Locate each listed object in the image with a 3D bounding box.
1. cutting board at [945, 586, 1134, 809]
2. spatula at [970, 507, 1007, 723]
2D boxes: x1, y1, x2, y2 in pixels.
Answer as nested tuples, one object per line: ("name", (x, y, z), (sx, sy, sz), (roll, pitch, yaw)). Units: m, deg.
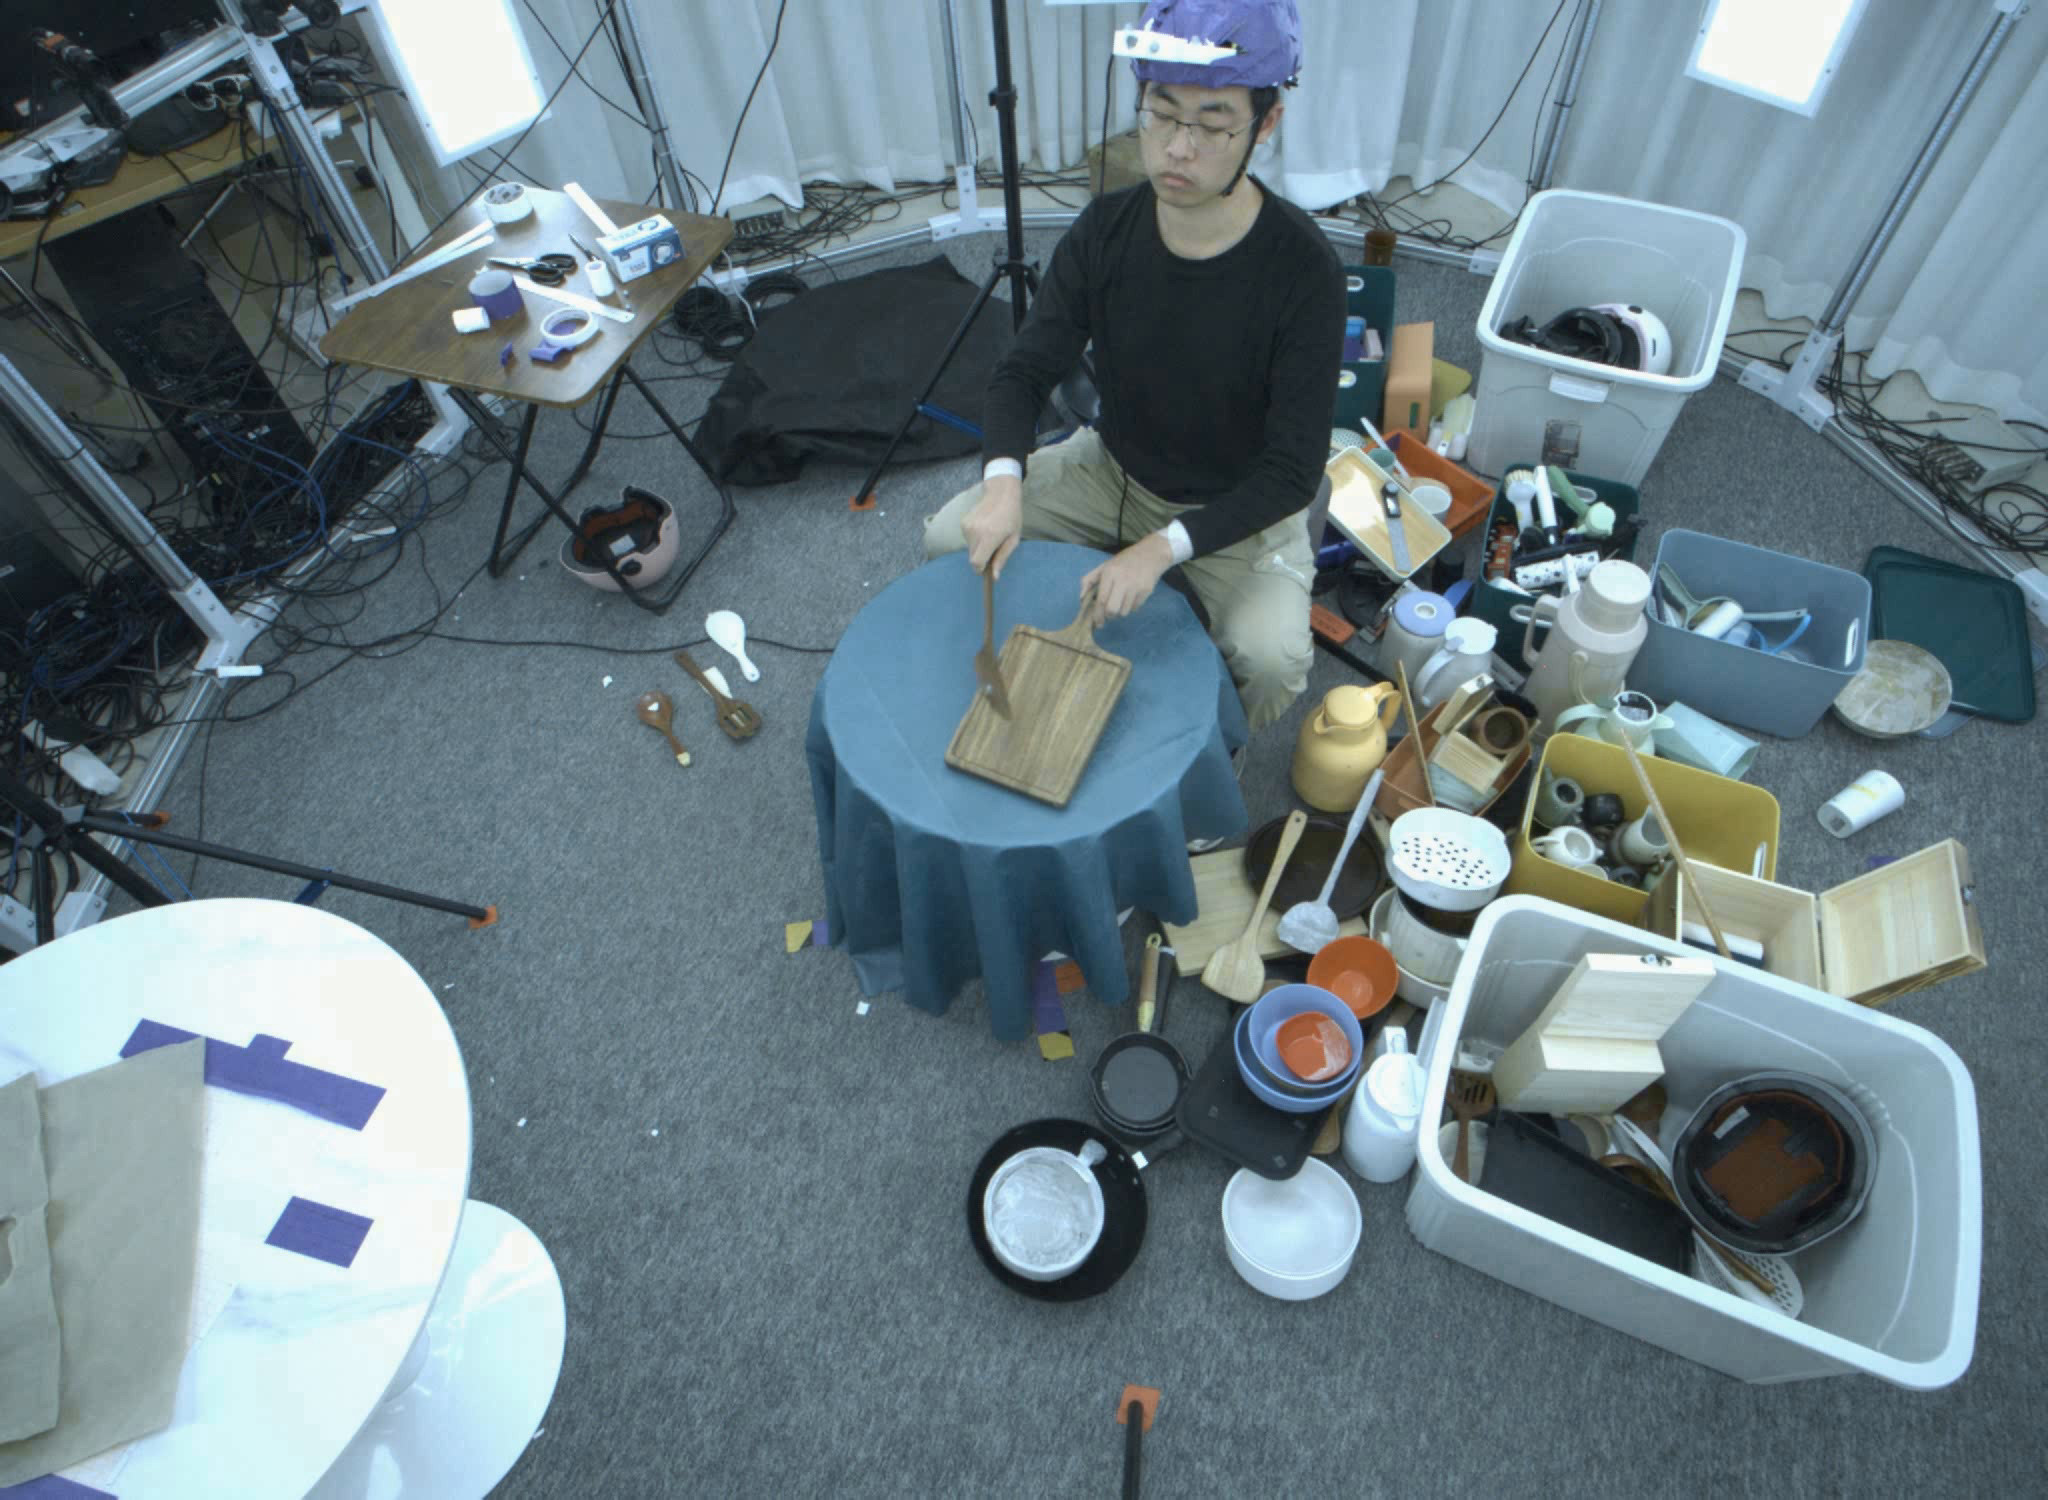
("cutting board", (0.044, -0.095, 1.801), (0.198, 0.023, 0.352), (20, 69, 16))
("spatula", (-0.054, -0.209, 1.755), (0.015, 0.098, 0.381), (-16, 55, 20))
